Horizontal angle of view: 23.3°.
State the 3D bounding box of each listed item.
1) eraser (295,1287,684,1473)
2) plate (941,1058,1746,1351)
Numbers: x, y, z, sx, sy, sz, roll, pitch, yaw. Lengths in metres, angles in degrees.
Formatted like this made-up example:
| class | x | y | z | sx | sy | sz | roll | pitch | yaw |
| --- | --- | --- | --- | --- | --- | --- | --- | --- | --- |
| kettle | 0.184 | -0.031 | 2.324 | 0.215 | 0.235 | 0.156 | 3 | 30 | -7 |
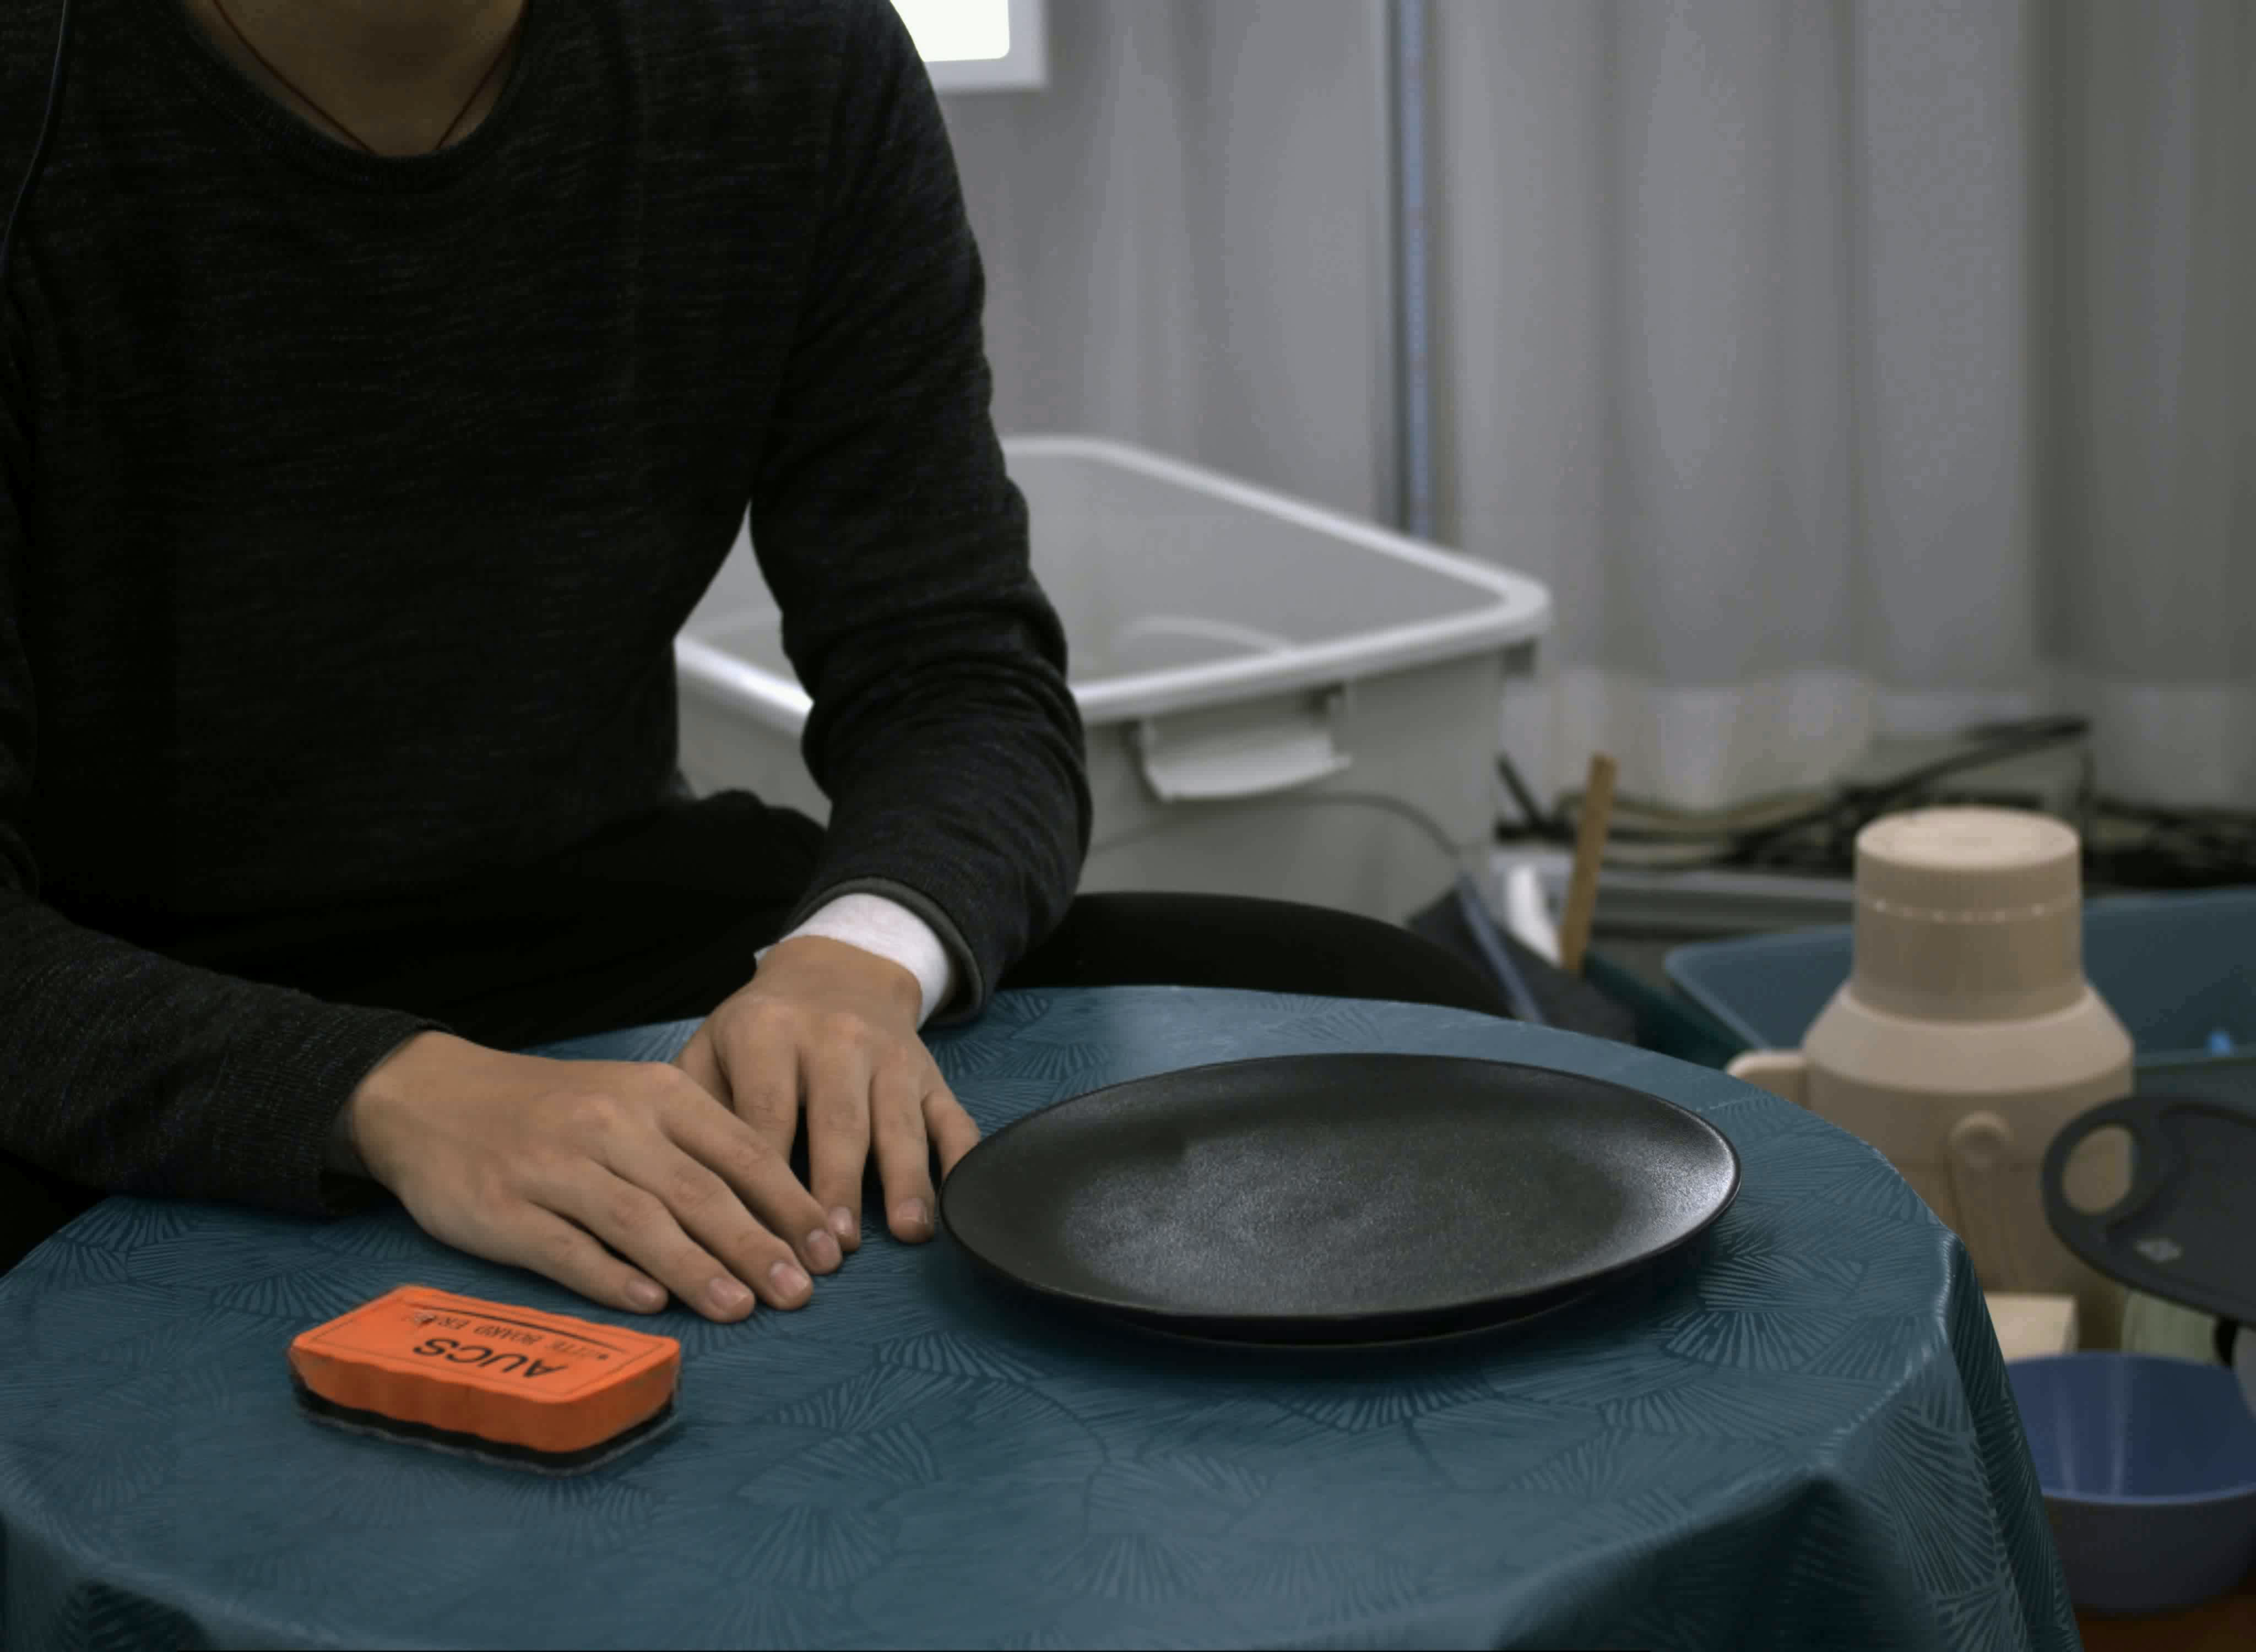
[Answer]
| class | x | y | z | sx | sy | sz | roll | pitch | yaw |
| --- | --- | --- | --- | --- | --- | --- | --- | --- | --- |
| eraser | -0.180 | 0.156 | 1.546 | 0.108 | 0.023 | 0.059 | 8 | 16 | 36 |
| plate | 0.065 | 0.116 | 1.651 | 0.243 | 0.023 | 0.246 | -3 | 15 | 1 |
